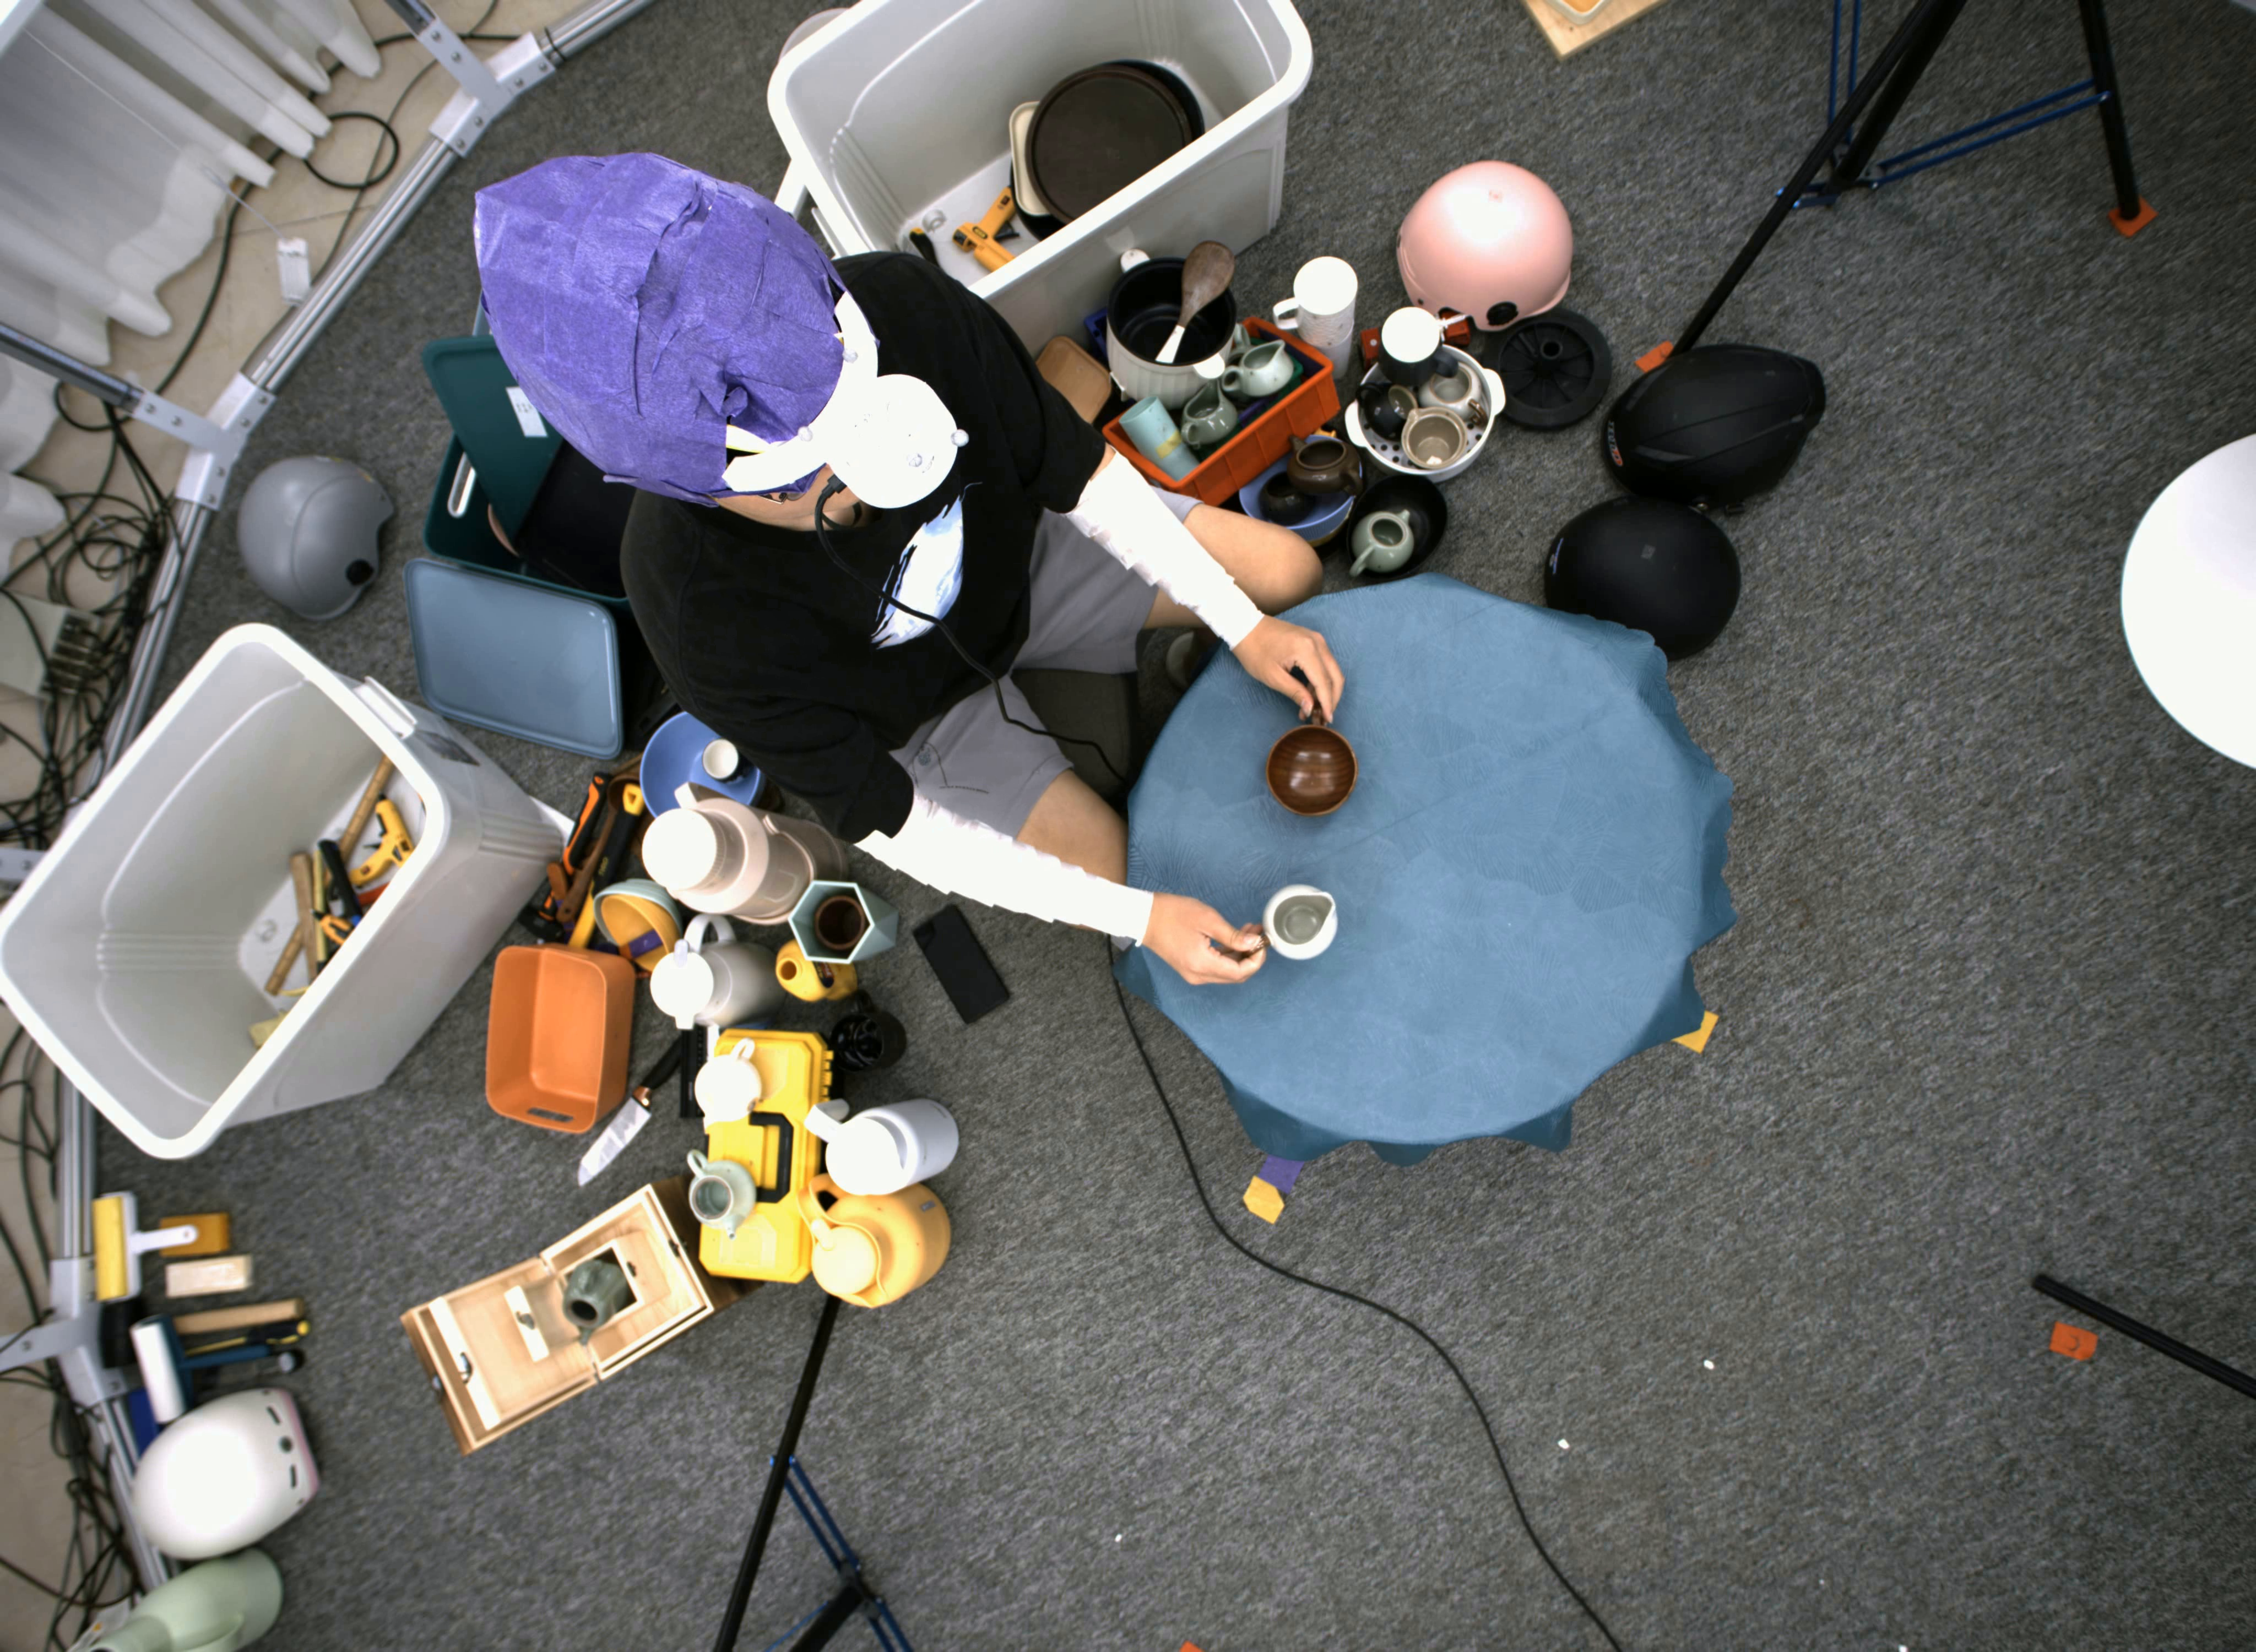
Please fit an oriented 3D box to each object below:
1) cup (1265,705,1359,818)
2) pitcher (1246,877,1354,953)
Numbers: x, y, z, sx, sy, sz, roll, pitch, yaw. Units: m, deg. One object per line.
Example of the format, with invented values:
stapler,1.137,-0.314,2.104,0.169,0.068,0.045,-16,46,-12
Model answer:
cup,0.197,-0.067,1.447,0.096,0.068,0.119,3,85,14
pitcher,0.174,0.094,1.402,0.119,0.088,0.075,-26,75,2
